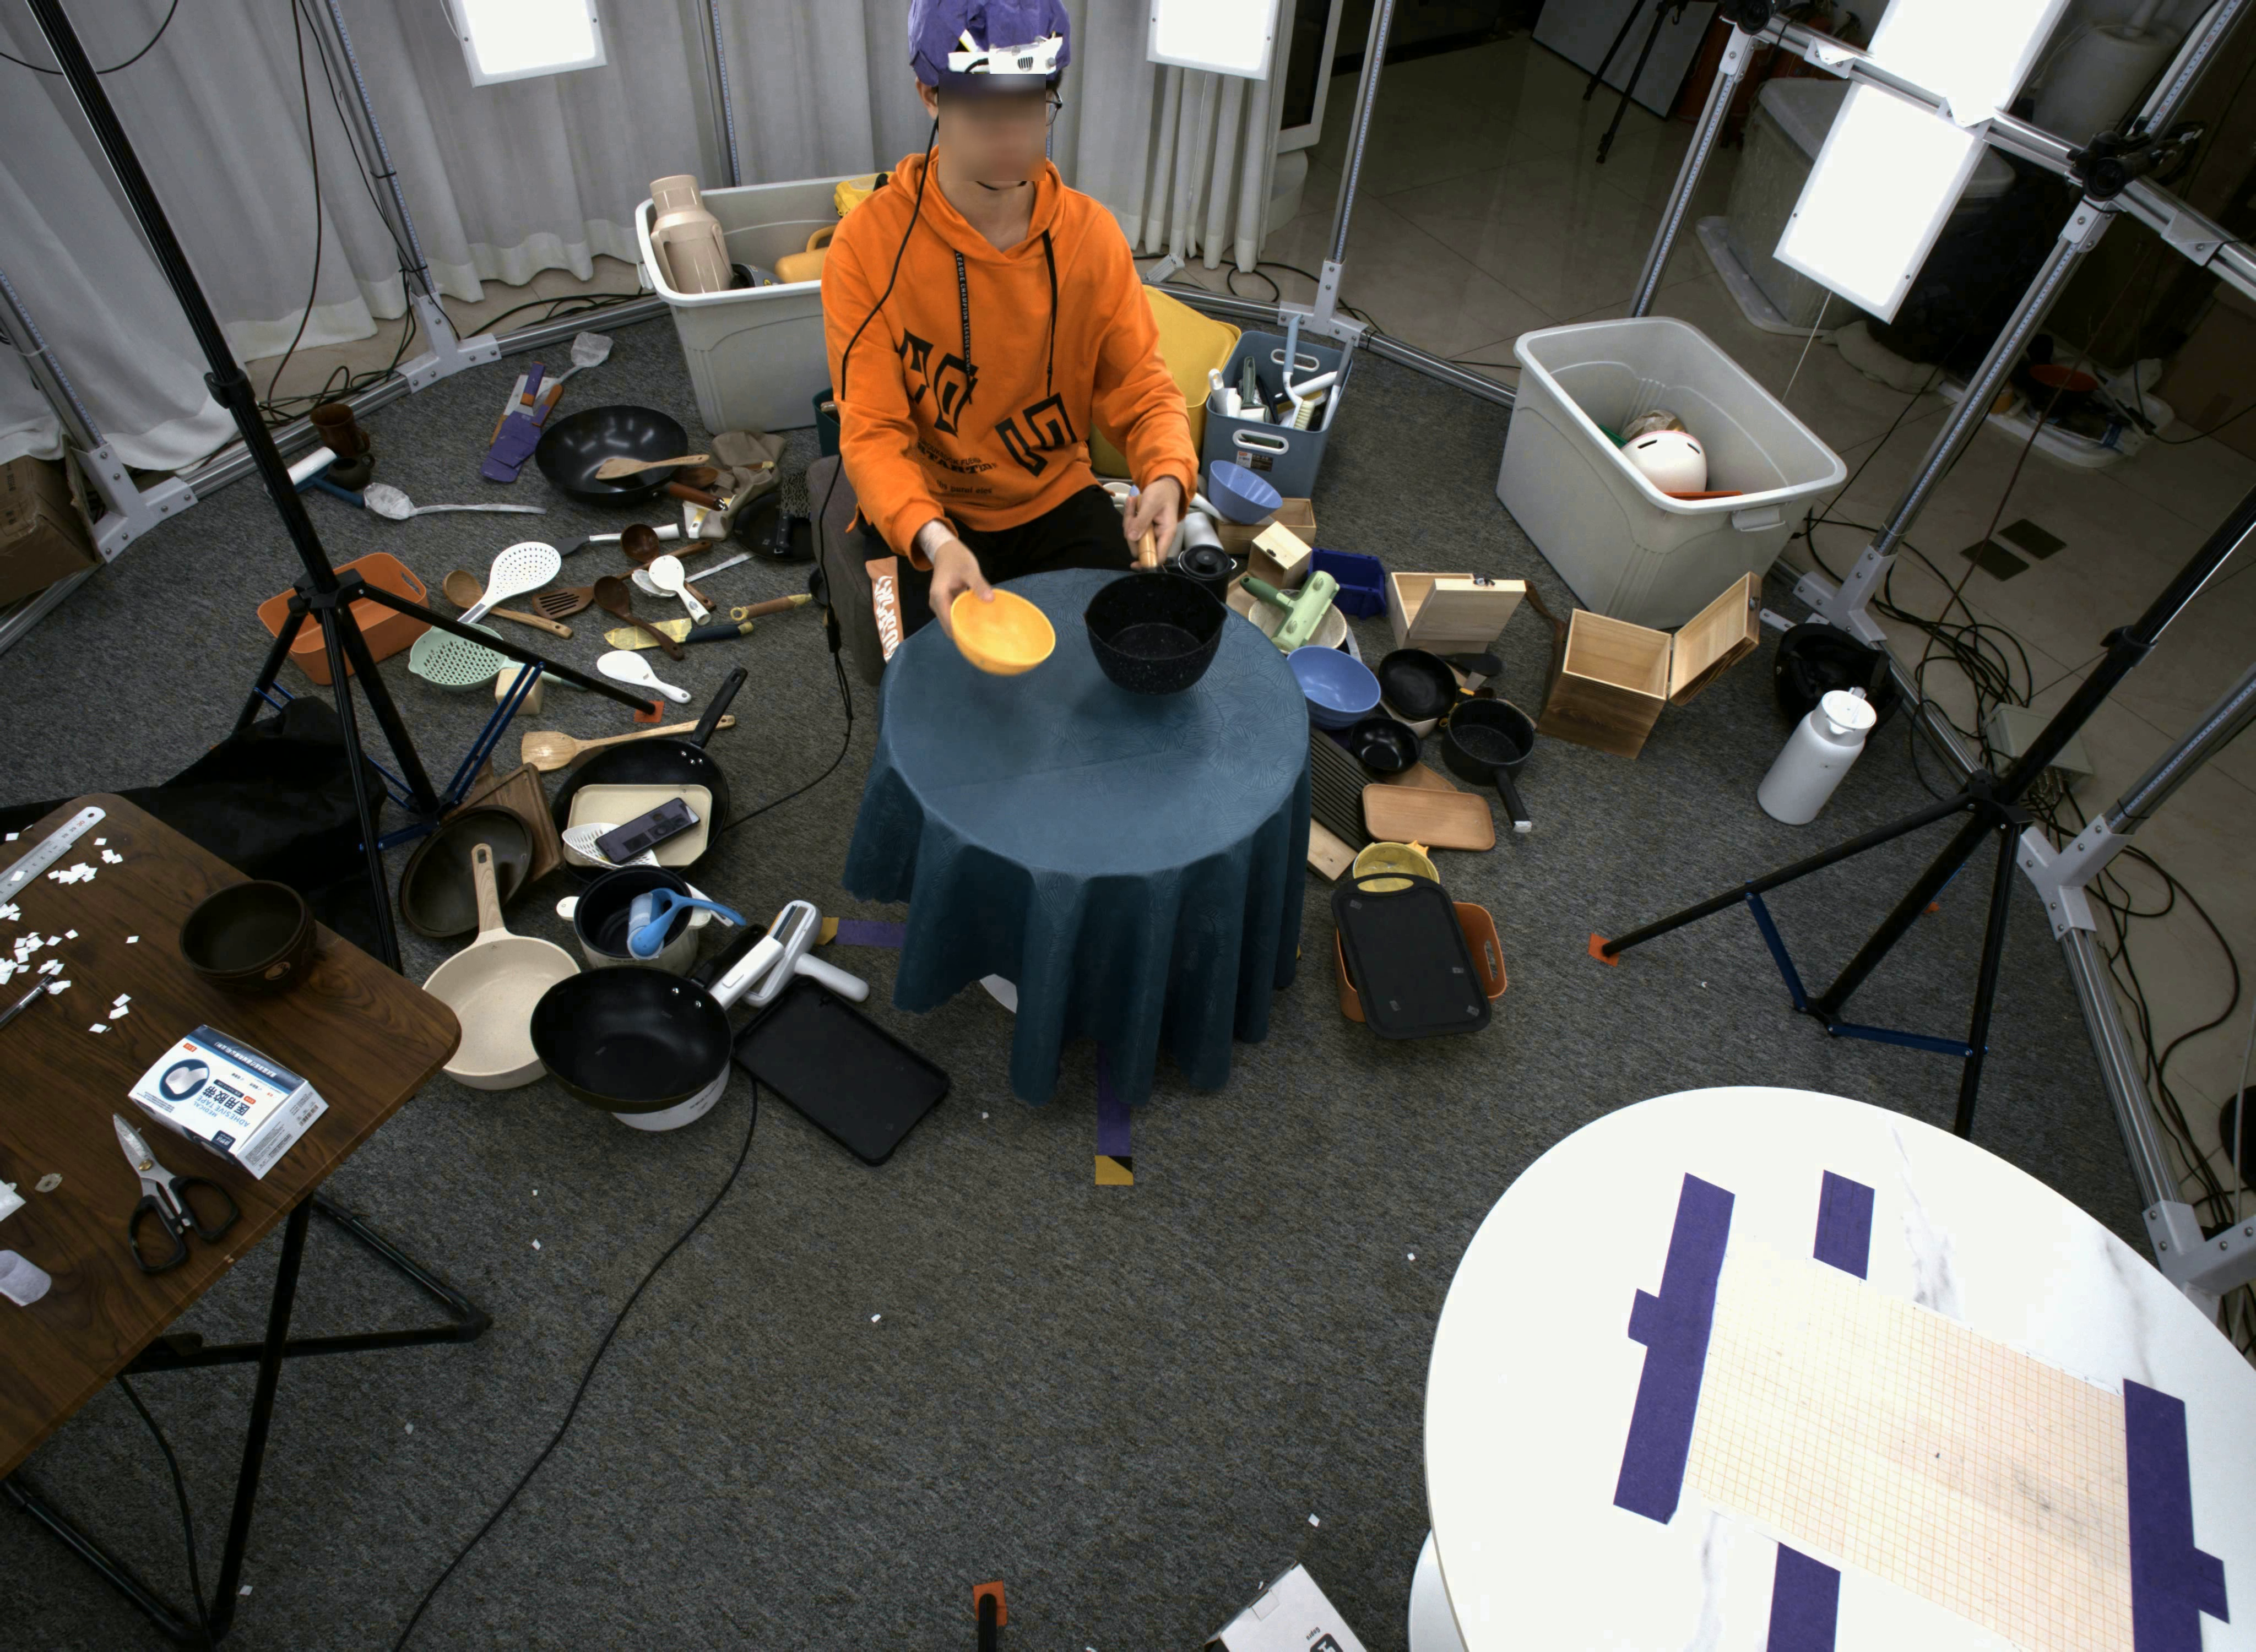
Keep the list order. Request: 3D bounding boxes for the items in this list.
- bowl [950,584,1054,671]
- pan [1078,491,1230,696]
[{"bbox_3d":[-0.175,-0.252,1.708,0.144,0.059,0.149,18,41,-16],"label":"bowl"},{"bbox_3d":[0.030,-0.330,1.823,0.207,0.105,0.351,-4,49,-2],"label":"pan"}]
